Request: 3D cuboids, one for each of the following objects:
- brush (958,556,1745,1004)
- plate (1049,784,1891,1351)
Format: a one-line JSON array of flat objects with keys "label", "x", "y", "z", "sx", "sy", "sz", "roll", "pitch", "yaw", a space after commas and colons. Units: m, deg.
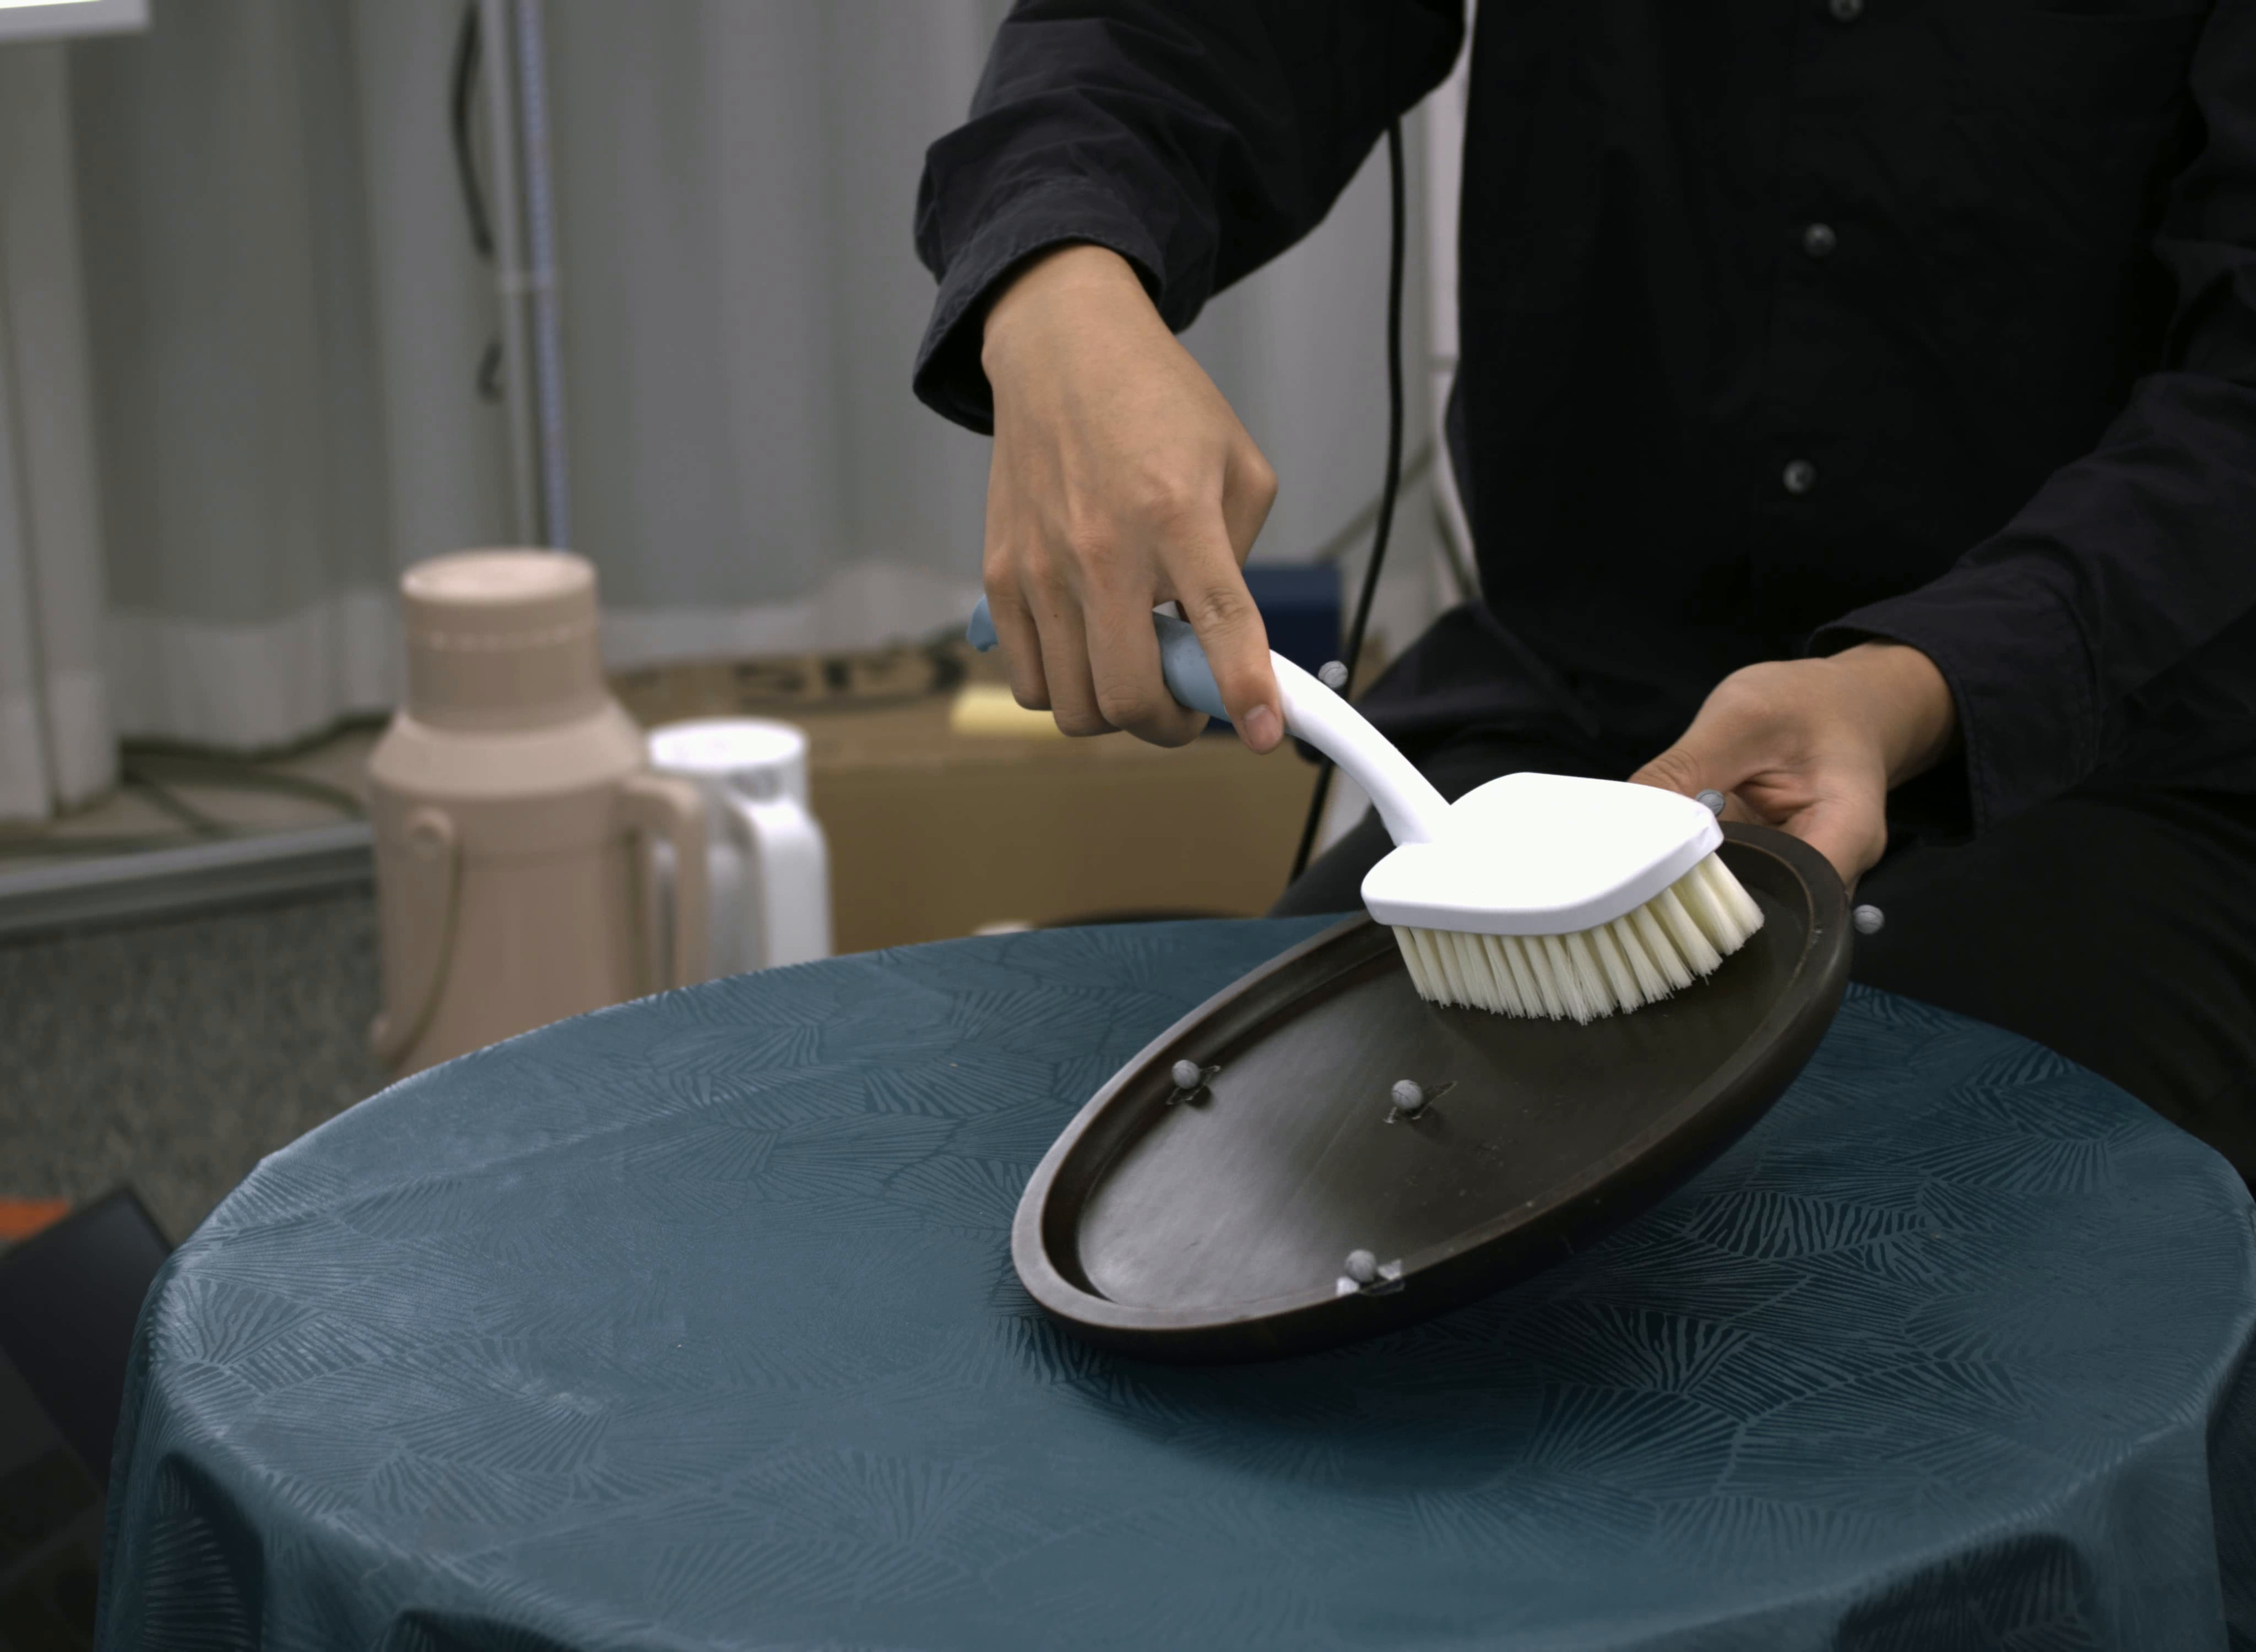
[{"label": "brush", "x": 0.064, "y": -0.008, "z": 1.575, "sx": 0.081, "sy": 0.085, "sz": 0.333, "roll": 5, "pitch": 11, "yaw": -40}, {"label": "plate", "x": 0.095, "y": 0.067, "z": 1.467, "sx": 0.255, "sy": 0.029, "sz": 0.256, "roll": -27, "pitch": 18, "yaw": 7}]
